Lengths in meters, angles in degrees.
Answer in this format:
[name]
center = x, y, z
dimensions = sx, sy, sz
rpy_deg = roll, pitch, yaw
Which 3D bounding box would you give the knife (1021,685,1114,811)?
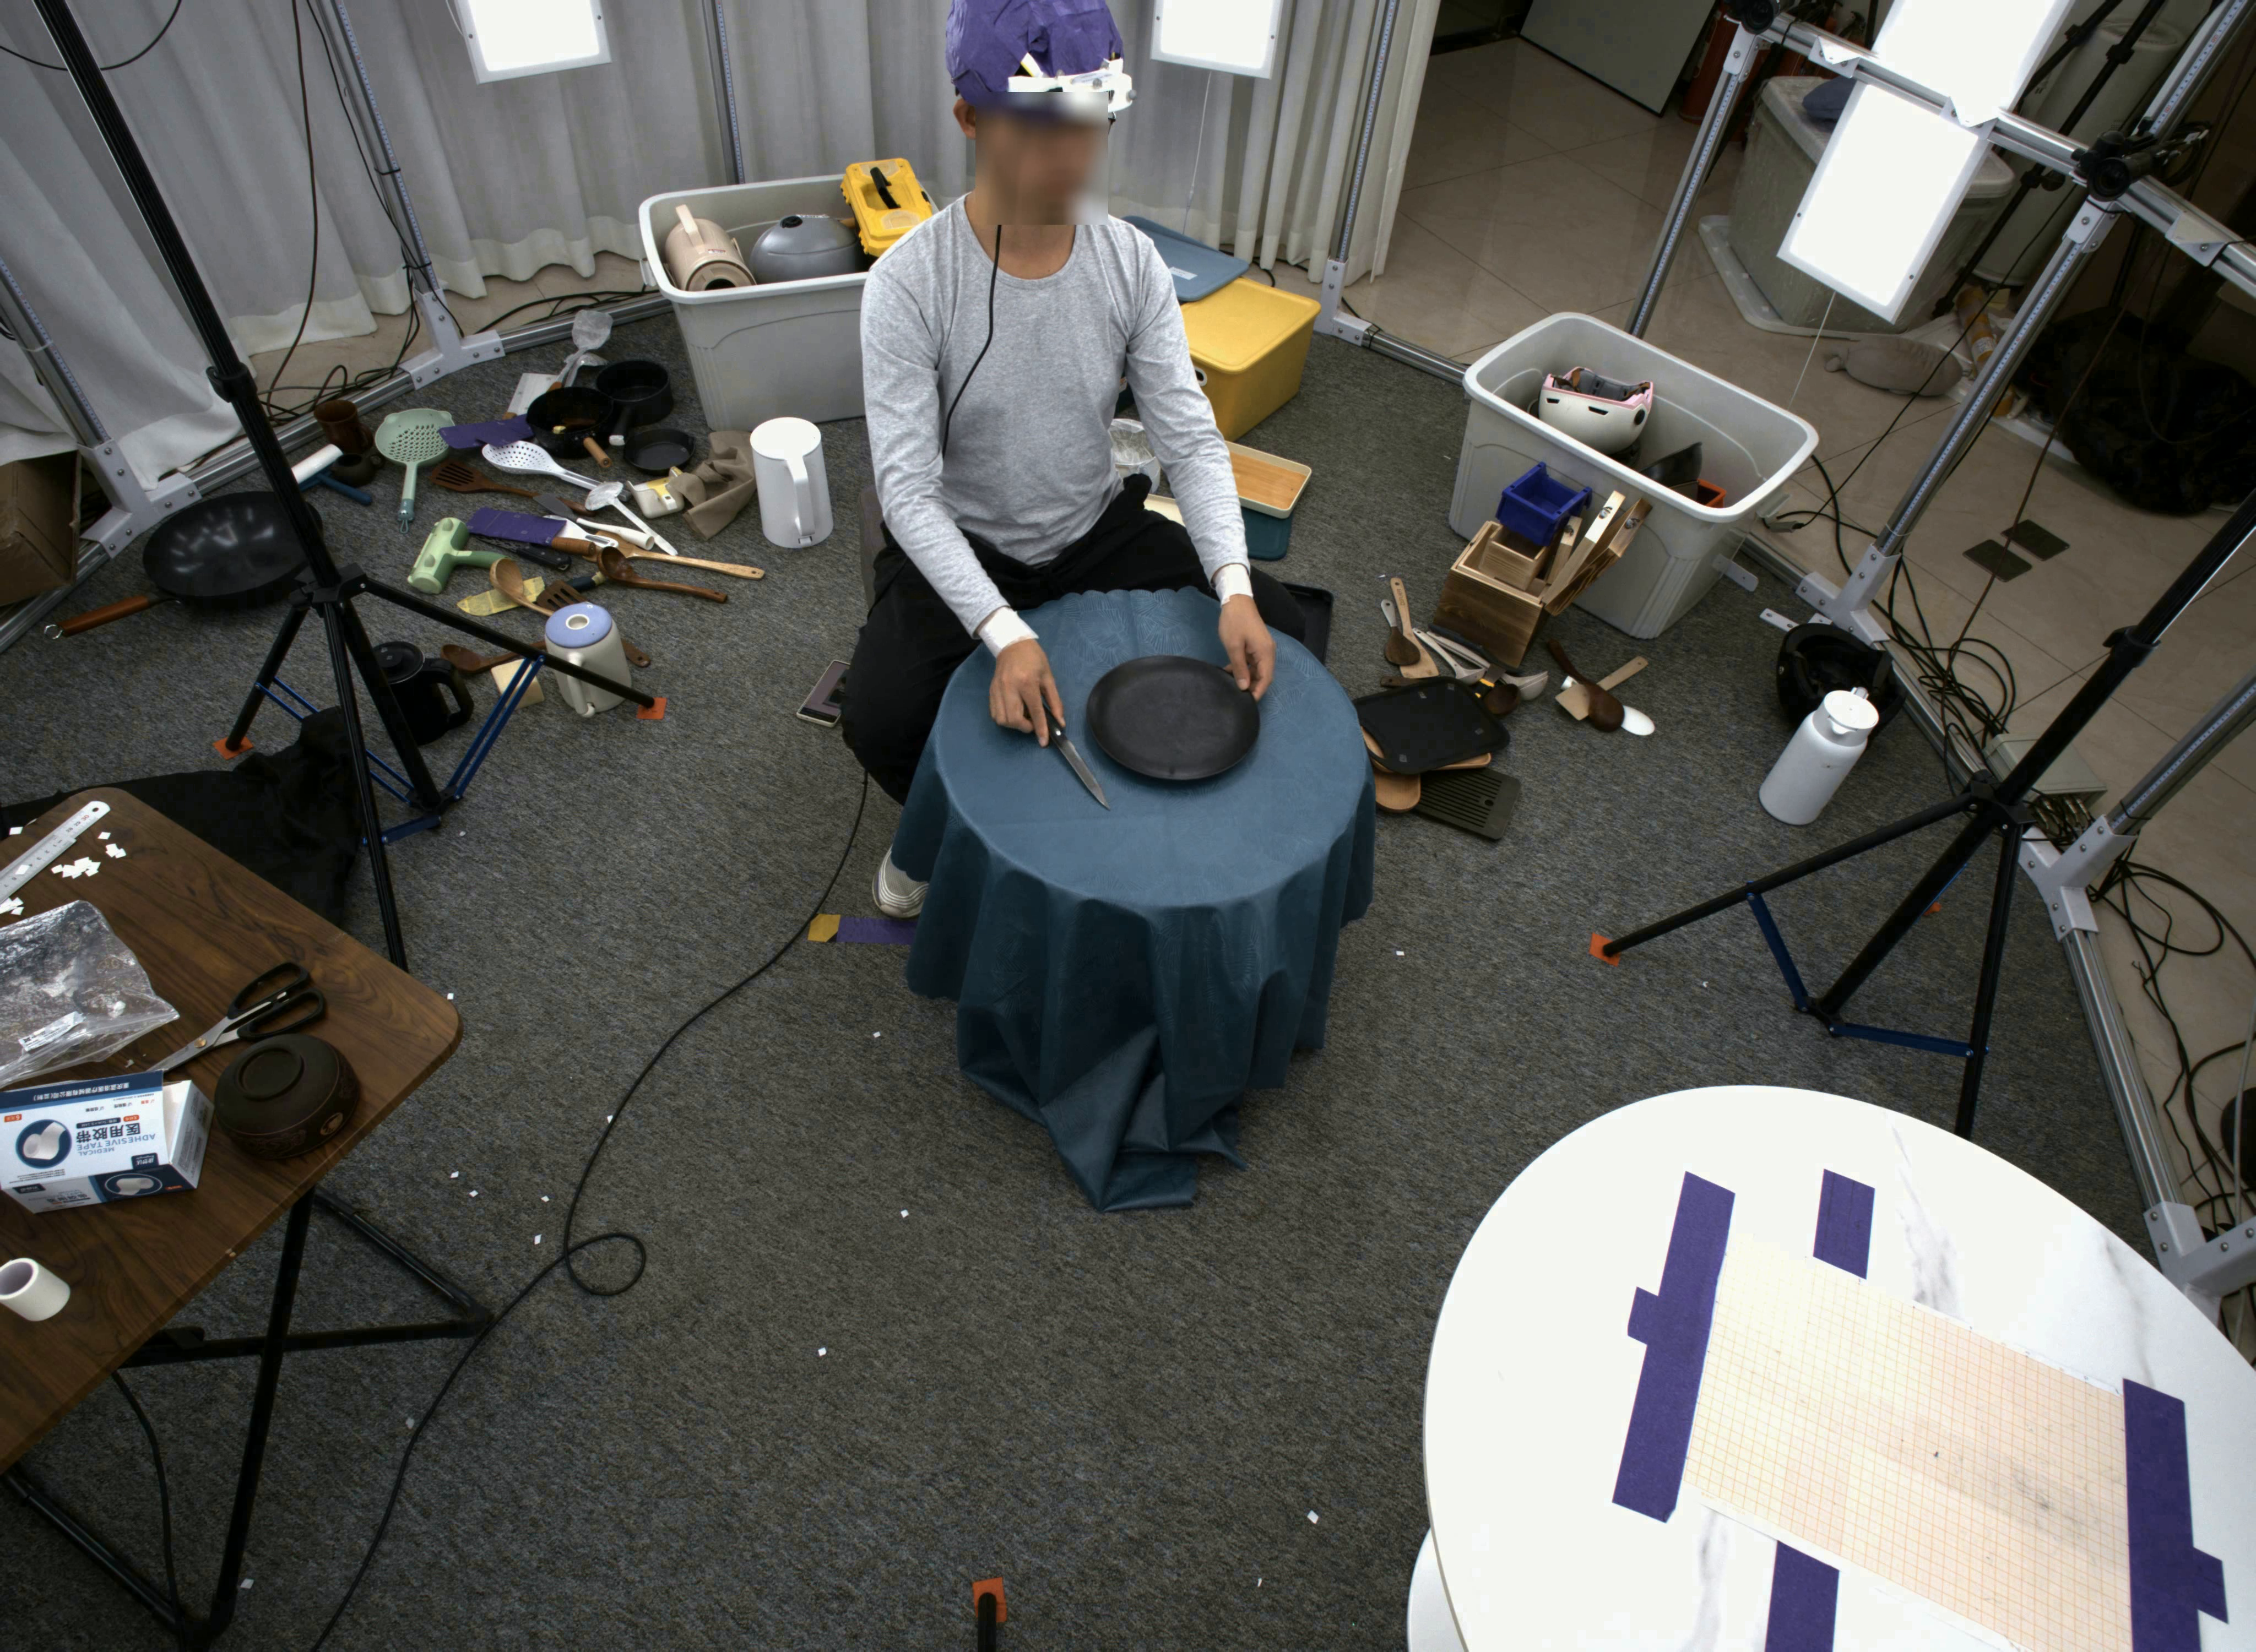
[knife]
center = -0.084, -0.106, 1.740
dimensions = 0.024, 0.016, 0.243
rpy_deg = -19, 58, -28

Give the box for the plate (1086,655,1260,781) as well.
[plate]
center = 0.063, -0.149, 1.786
dimensions = 0.244, 0.023, 0.250
rpy_deg = 2, 49, -2
